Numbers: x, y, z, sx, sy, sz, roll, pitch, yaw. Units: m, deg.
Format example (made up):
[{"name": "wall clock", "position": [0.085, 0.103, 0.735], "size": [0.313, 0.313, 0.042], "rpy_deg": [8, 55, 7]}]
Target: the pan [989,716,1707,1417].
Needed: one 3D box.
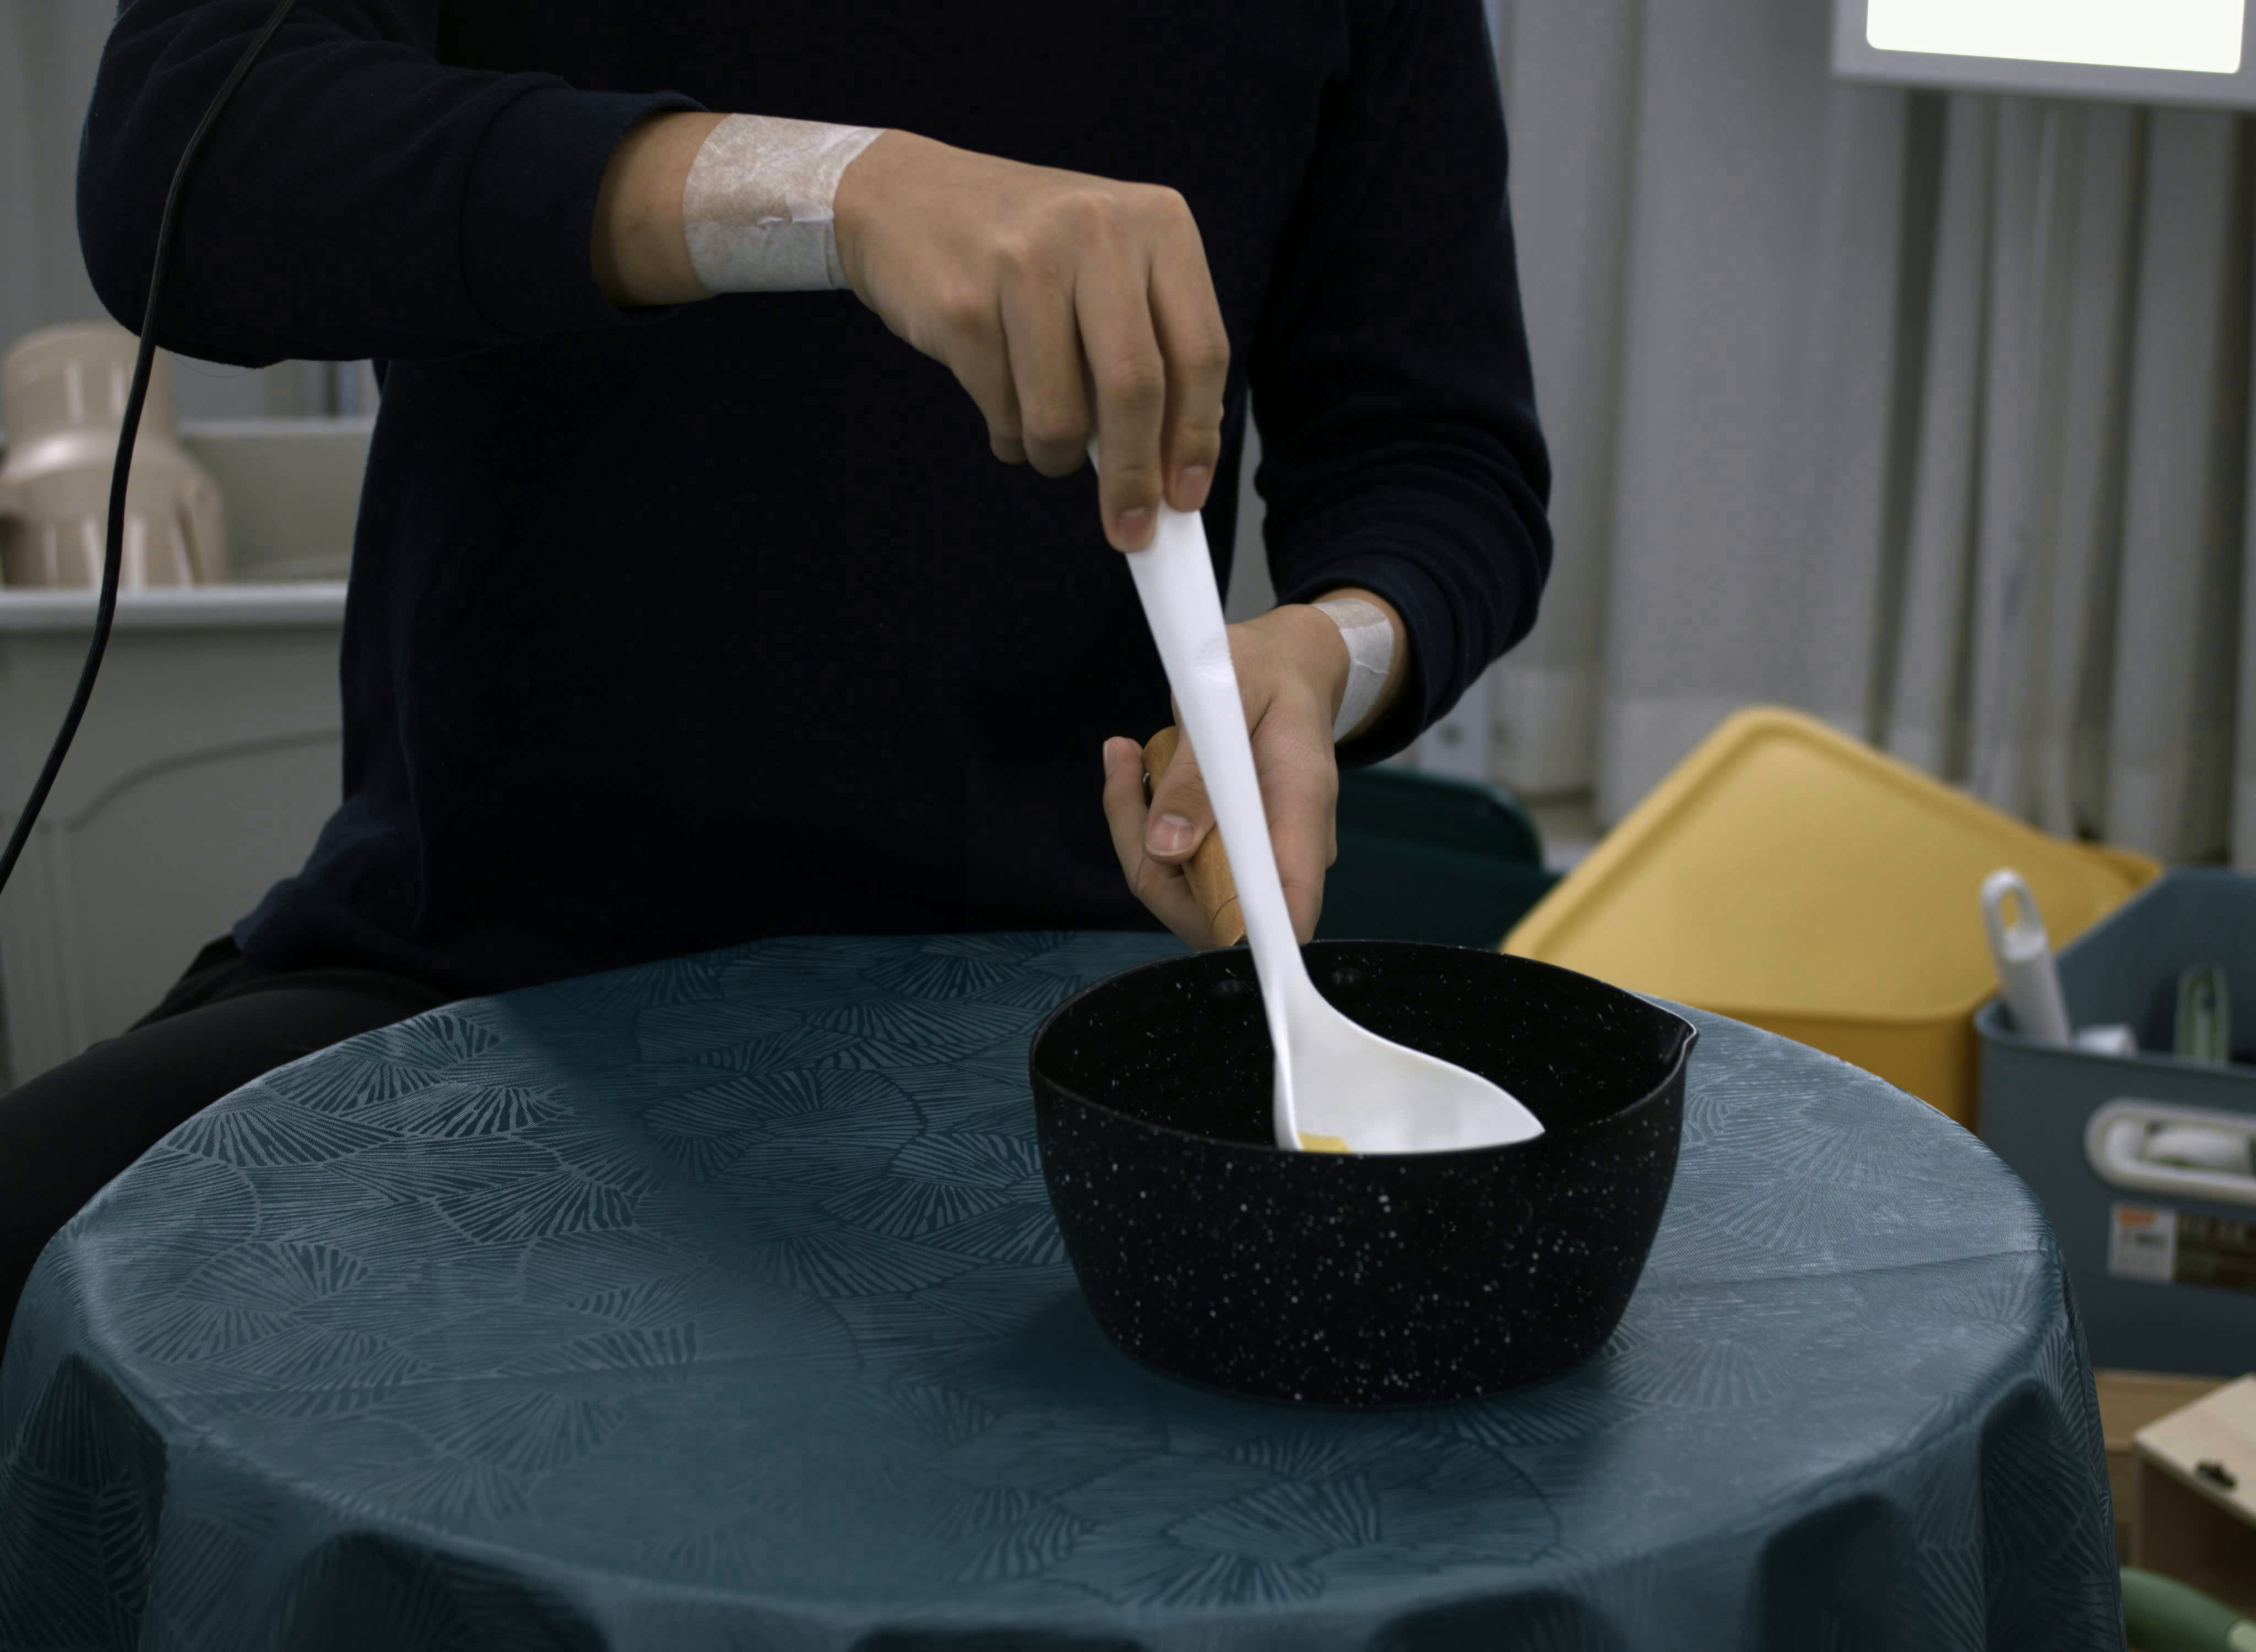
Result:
[{"name": "pan", "position": [0.048, 0.066, 1.575], "size": [0.207, 0.109, 0.339], "rpy_deg": [-4, 19, -12]}]

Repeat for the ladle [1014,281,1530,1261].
[{"name": "ladle", "position": [0.037, -0.016, 1.469], "size": [0.090, 0.293, 0.069], "rpy_deg": [-16, -2, -37]}]
